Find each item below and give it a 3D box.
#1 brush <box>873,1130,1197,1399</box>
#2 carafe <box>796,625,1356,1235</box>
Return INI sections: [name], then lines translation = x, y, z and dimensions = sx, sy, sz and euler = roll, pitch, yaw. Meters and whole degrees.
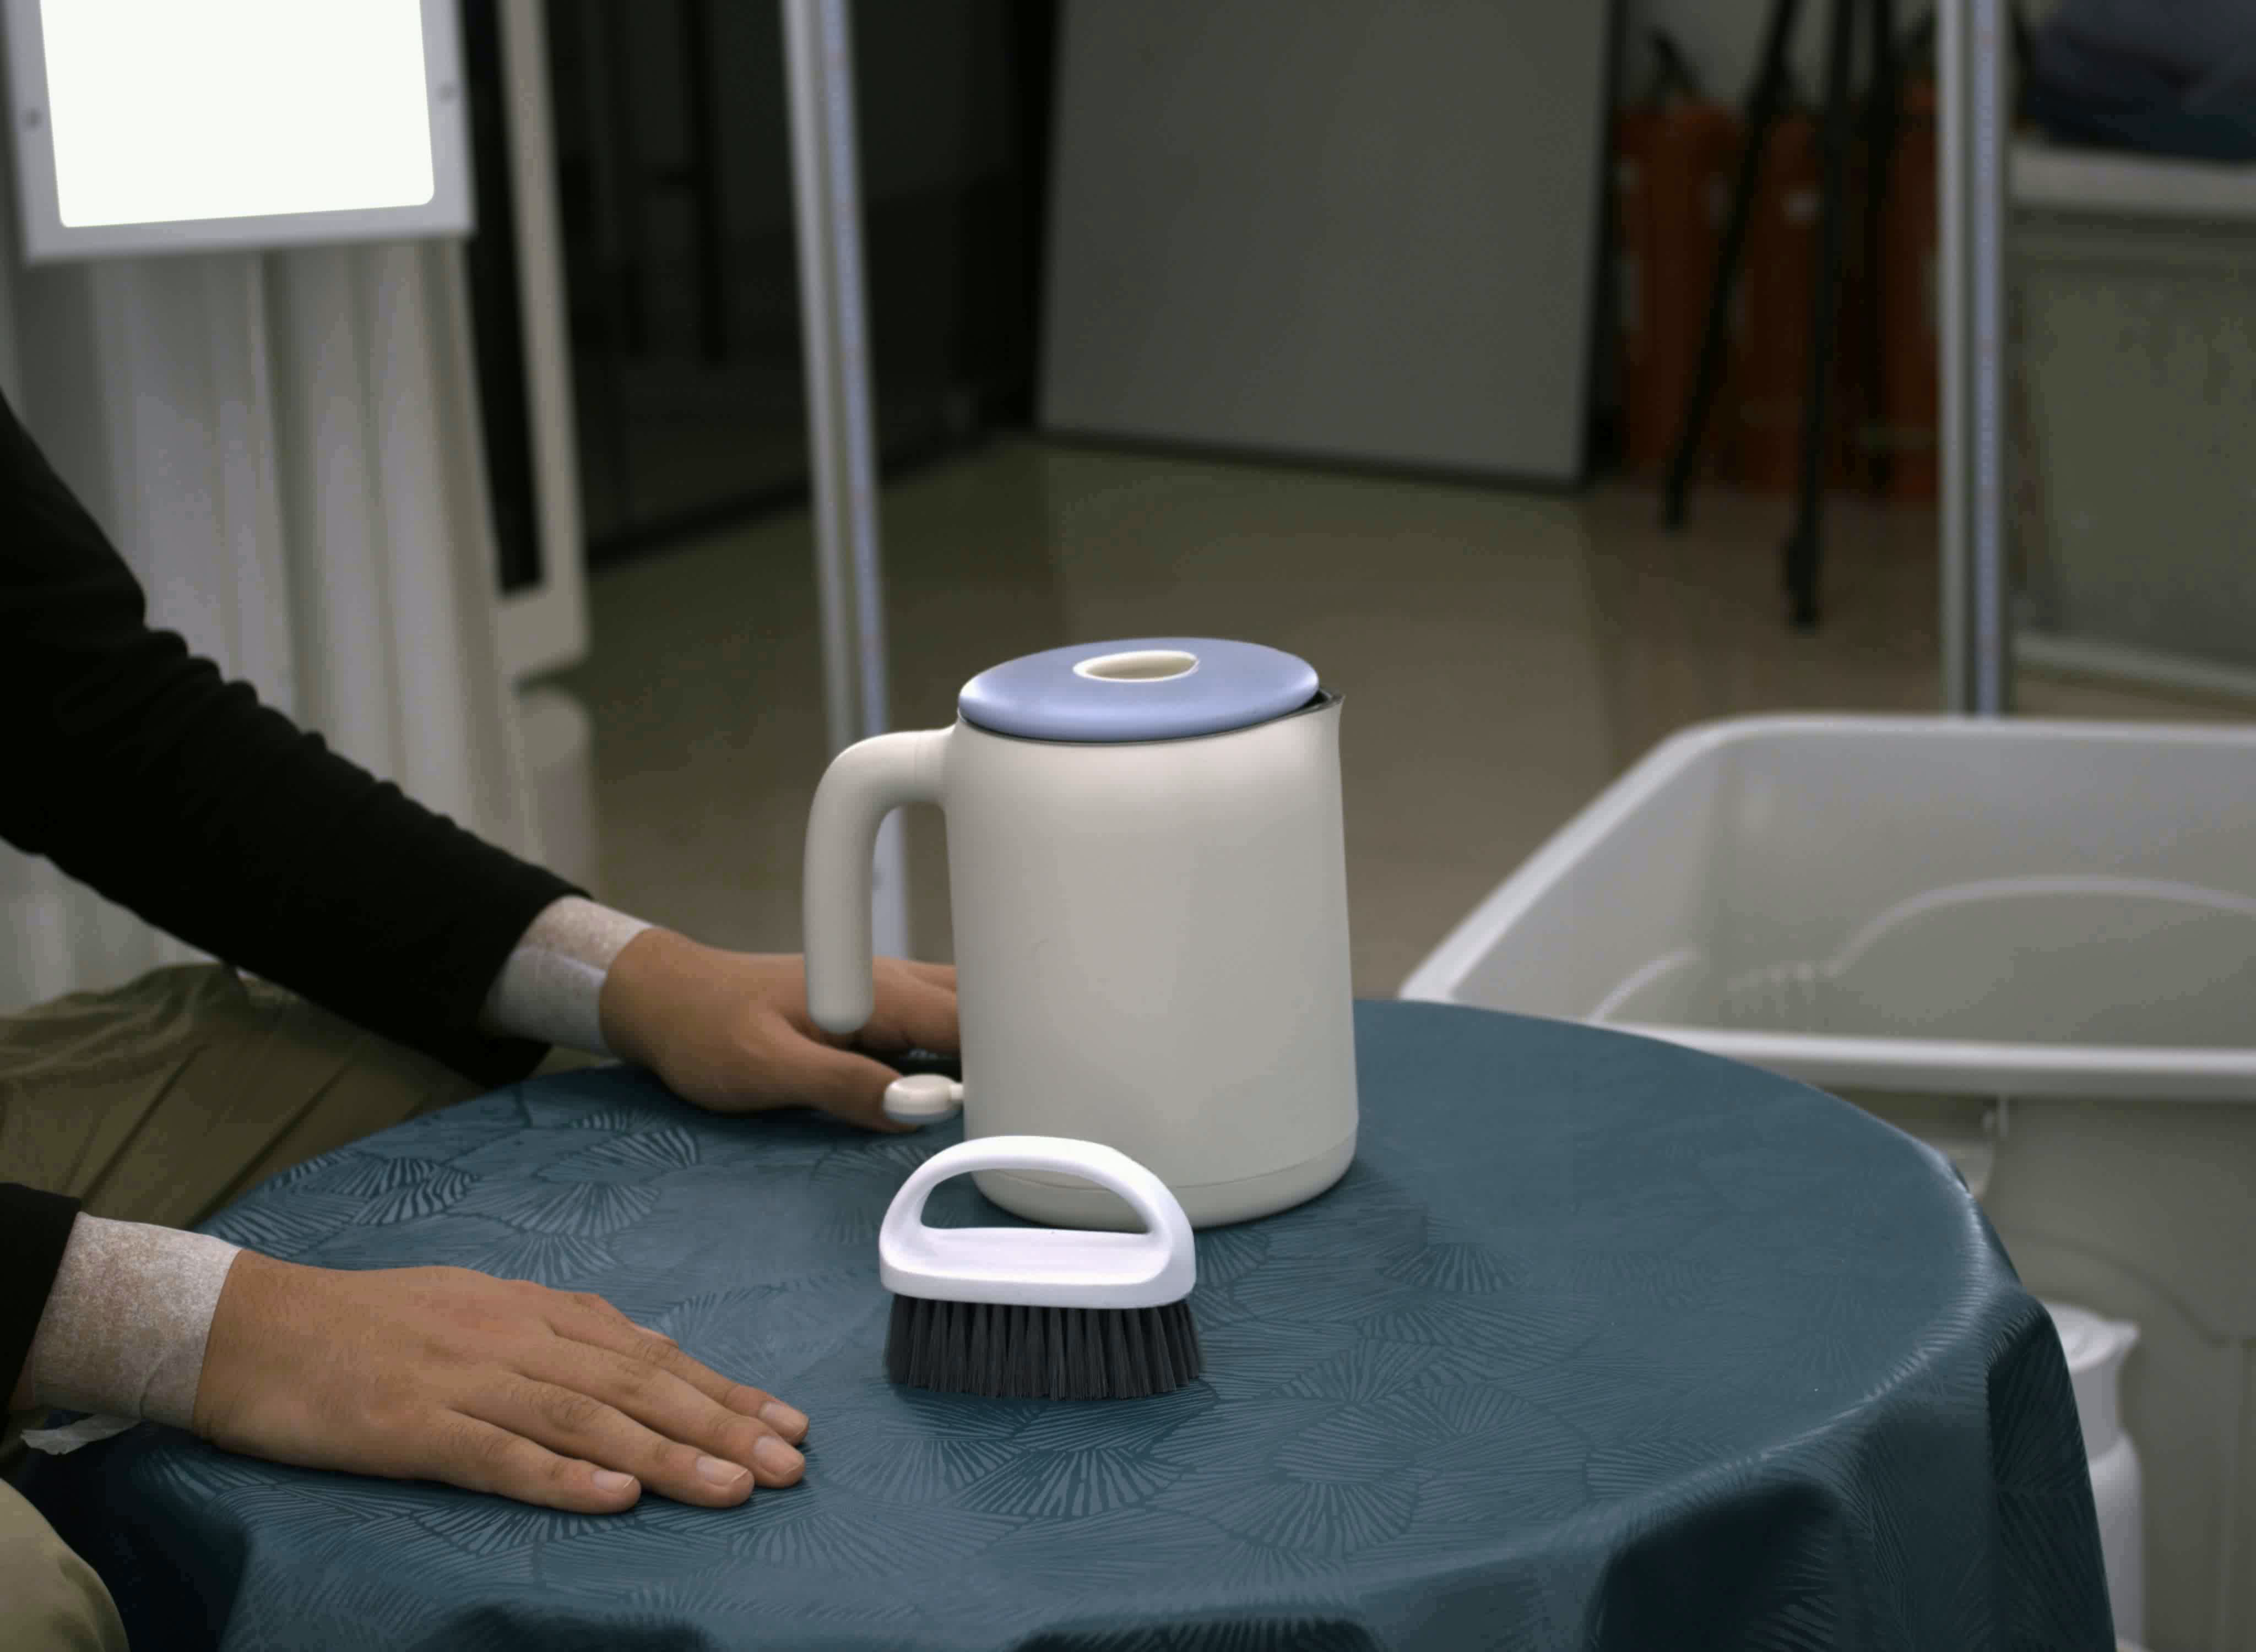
[brush]
translation = -0.029, 0.127, 1.600
dimensions = 0.099, 0.073, 0.050
euler = 2, 14, 22
[carafe]
translation = -0.017, 0.034, 1.768
dimensions = 0.190, 0.184, 0.131
euler = -2, 13, 13
